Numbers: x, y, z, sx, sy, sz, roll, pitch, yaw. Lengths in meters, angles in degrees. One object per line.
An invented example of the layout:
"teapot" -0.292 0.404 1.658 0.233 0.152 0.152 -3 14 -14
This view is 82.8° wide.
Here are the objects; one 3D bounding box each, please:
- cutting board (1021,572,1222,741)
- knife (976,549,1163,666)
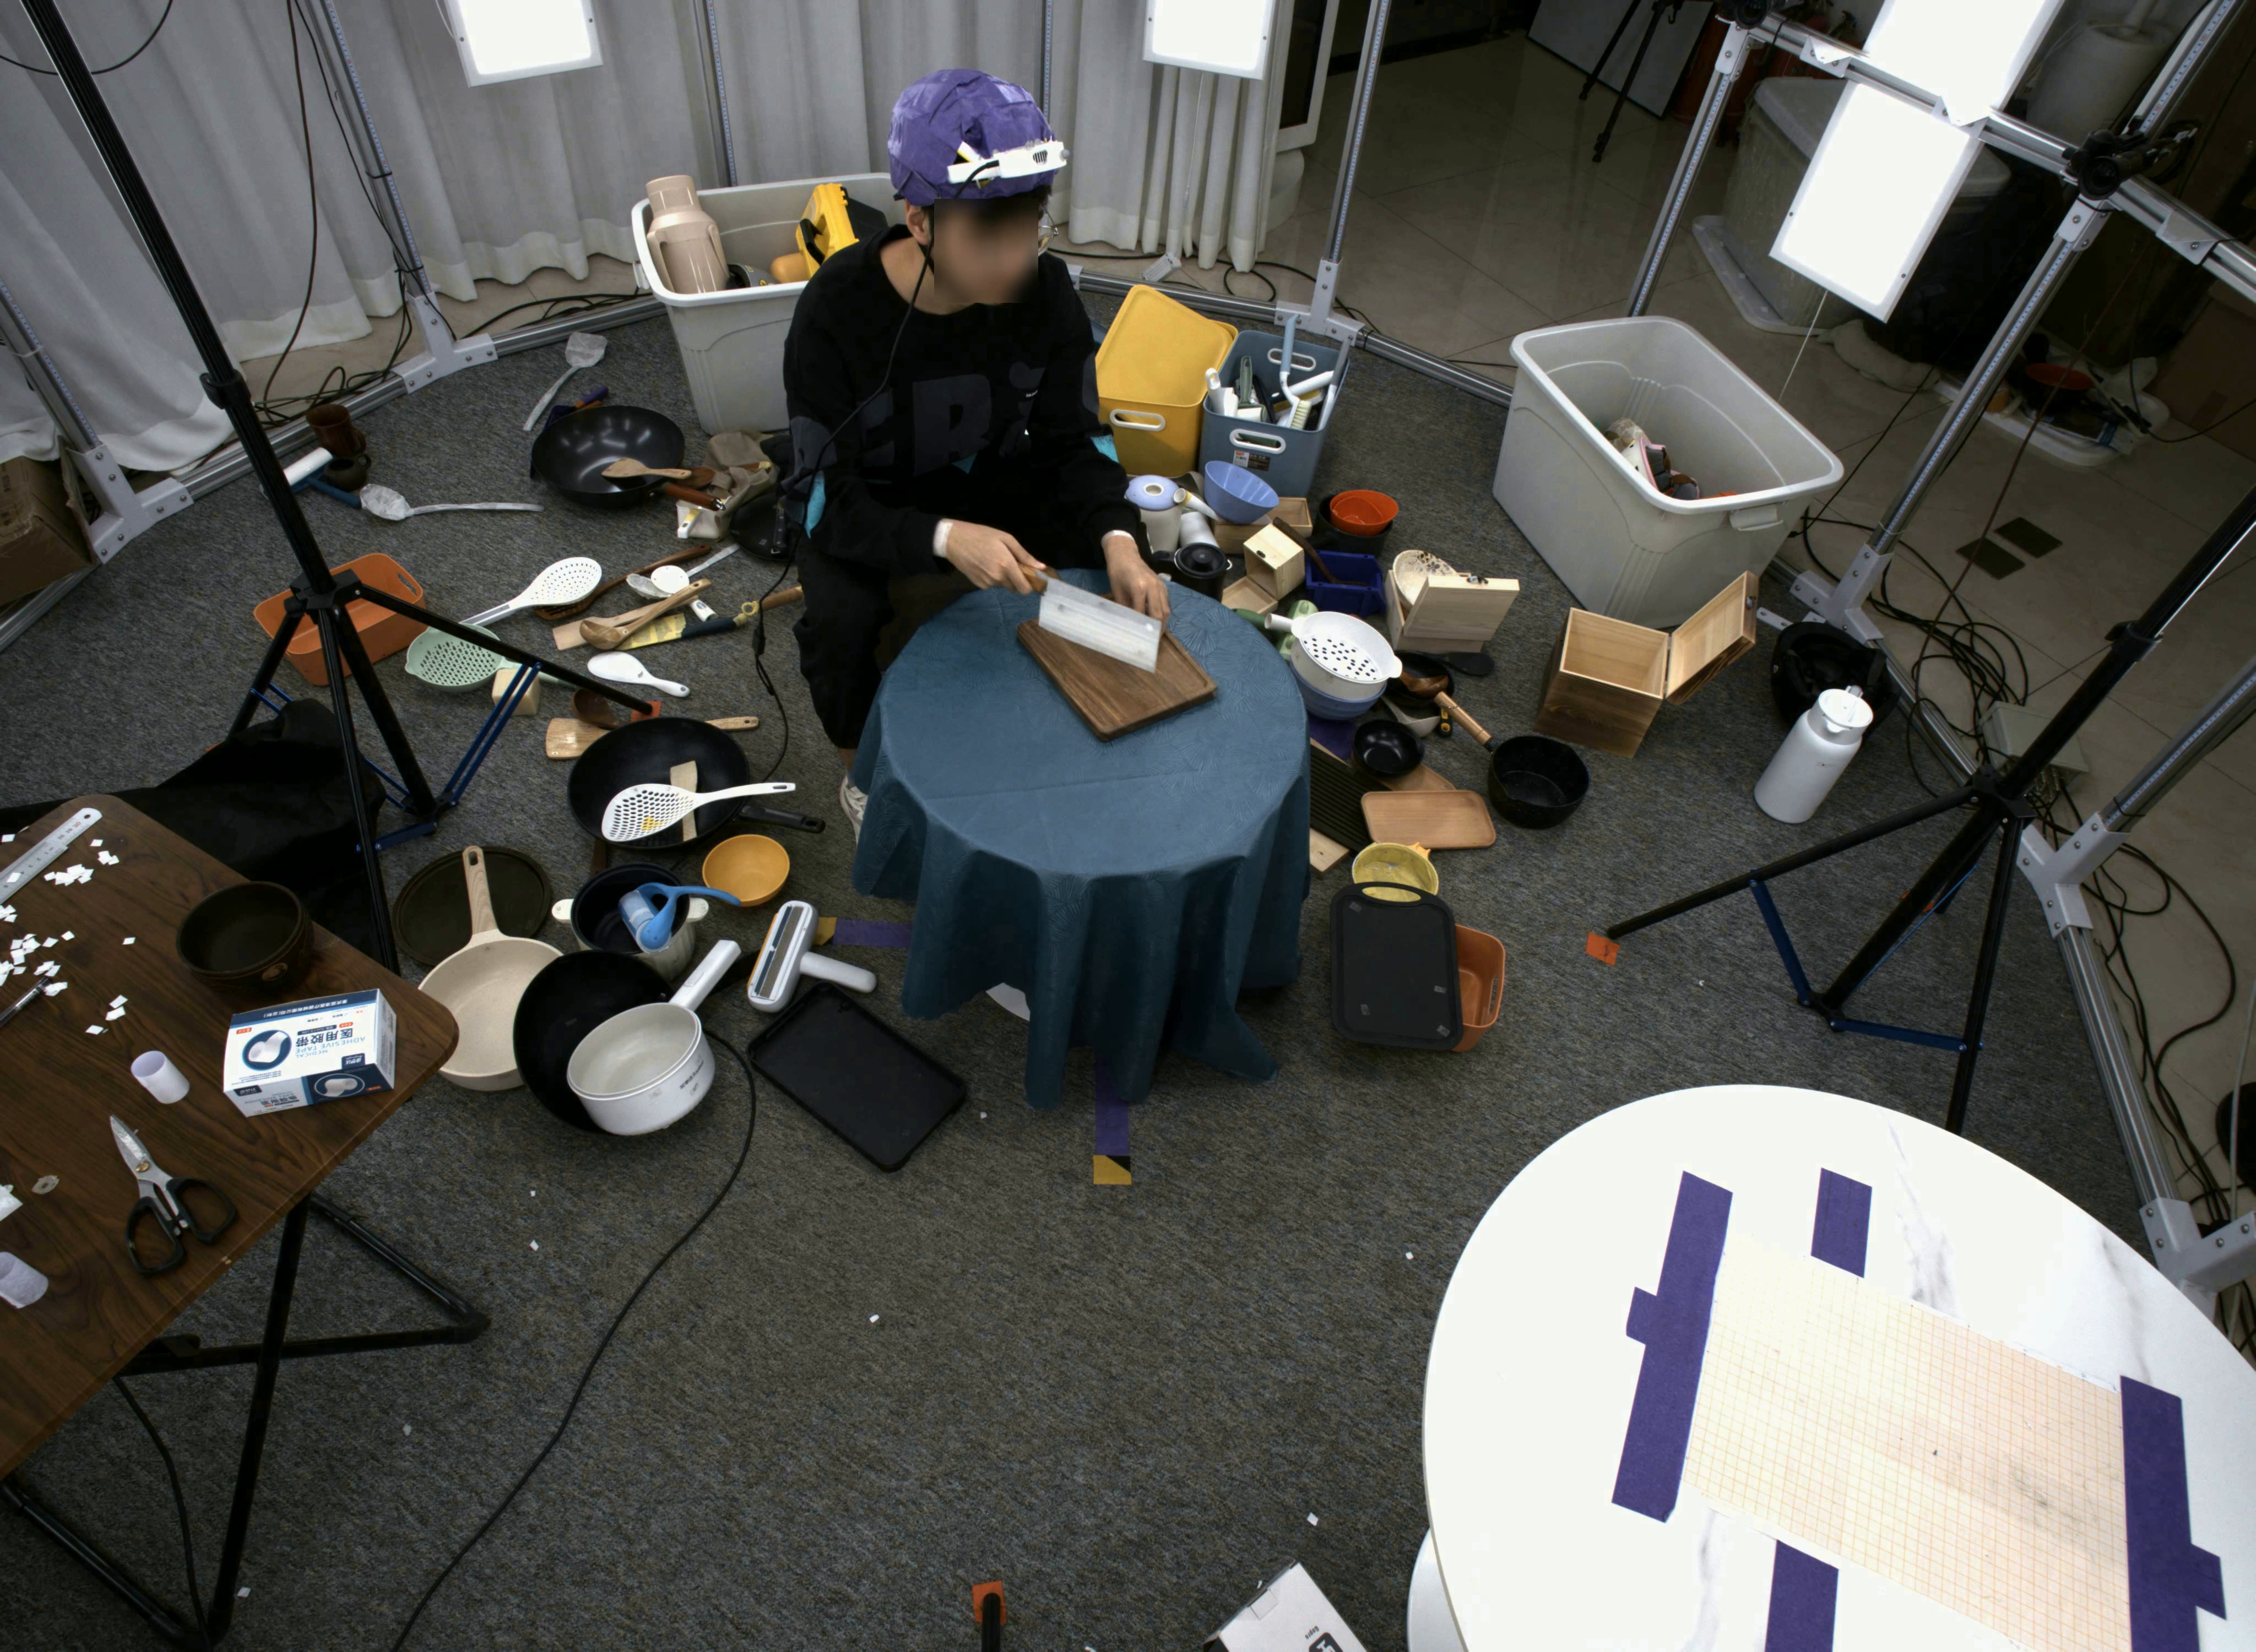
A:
"cutting board" -0.037 -0.270 1.892 0.202 0.022 0.359 -22 52 -23
"knife" -0.085 -0.303 1.809 0.308 0.091 0.021 25 46 18
